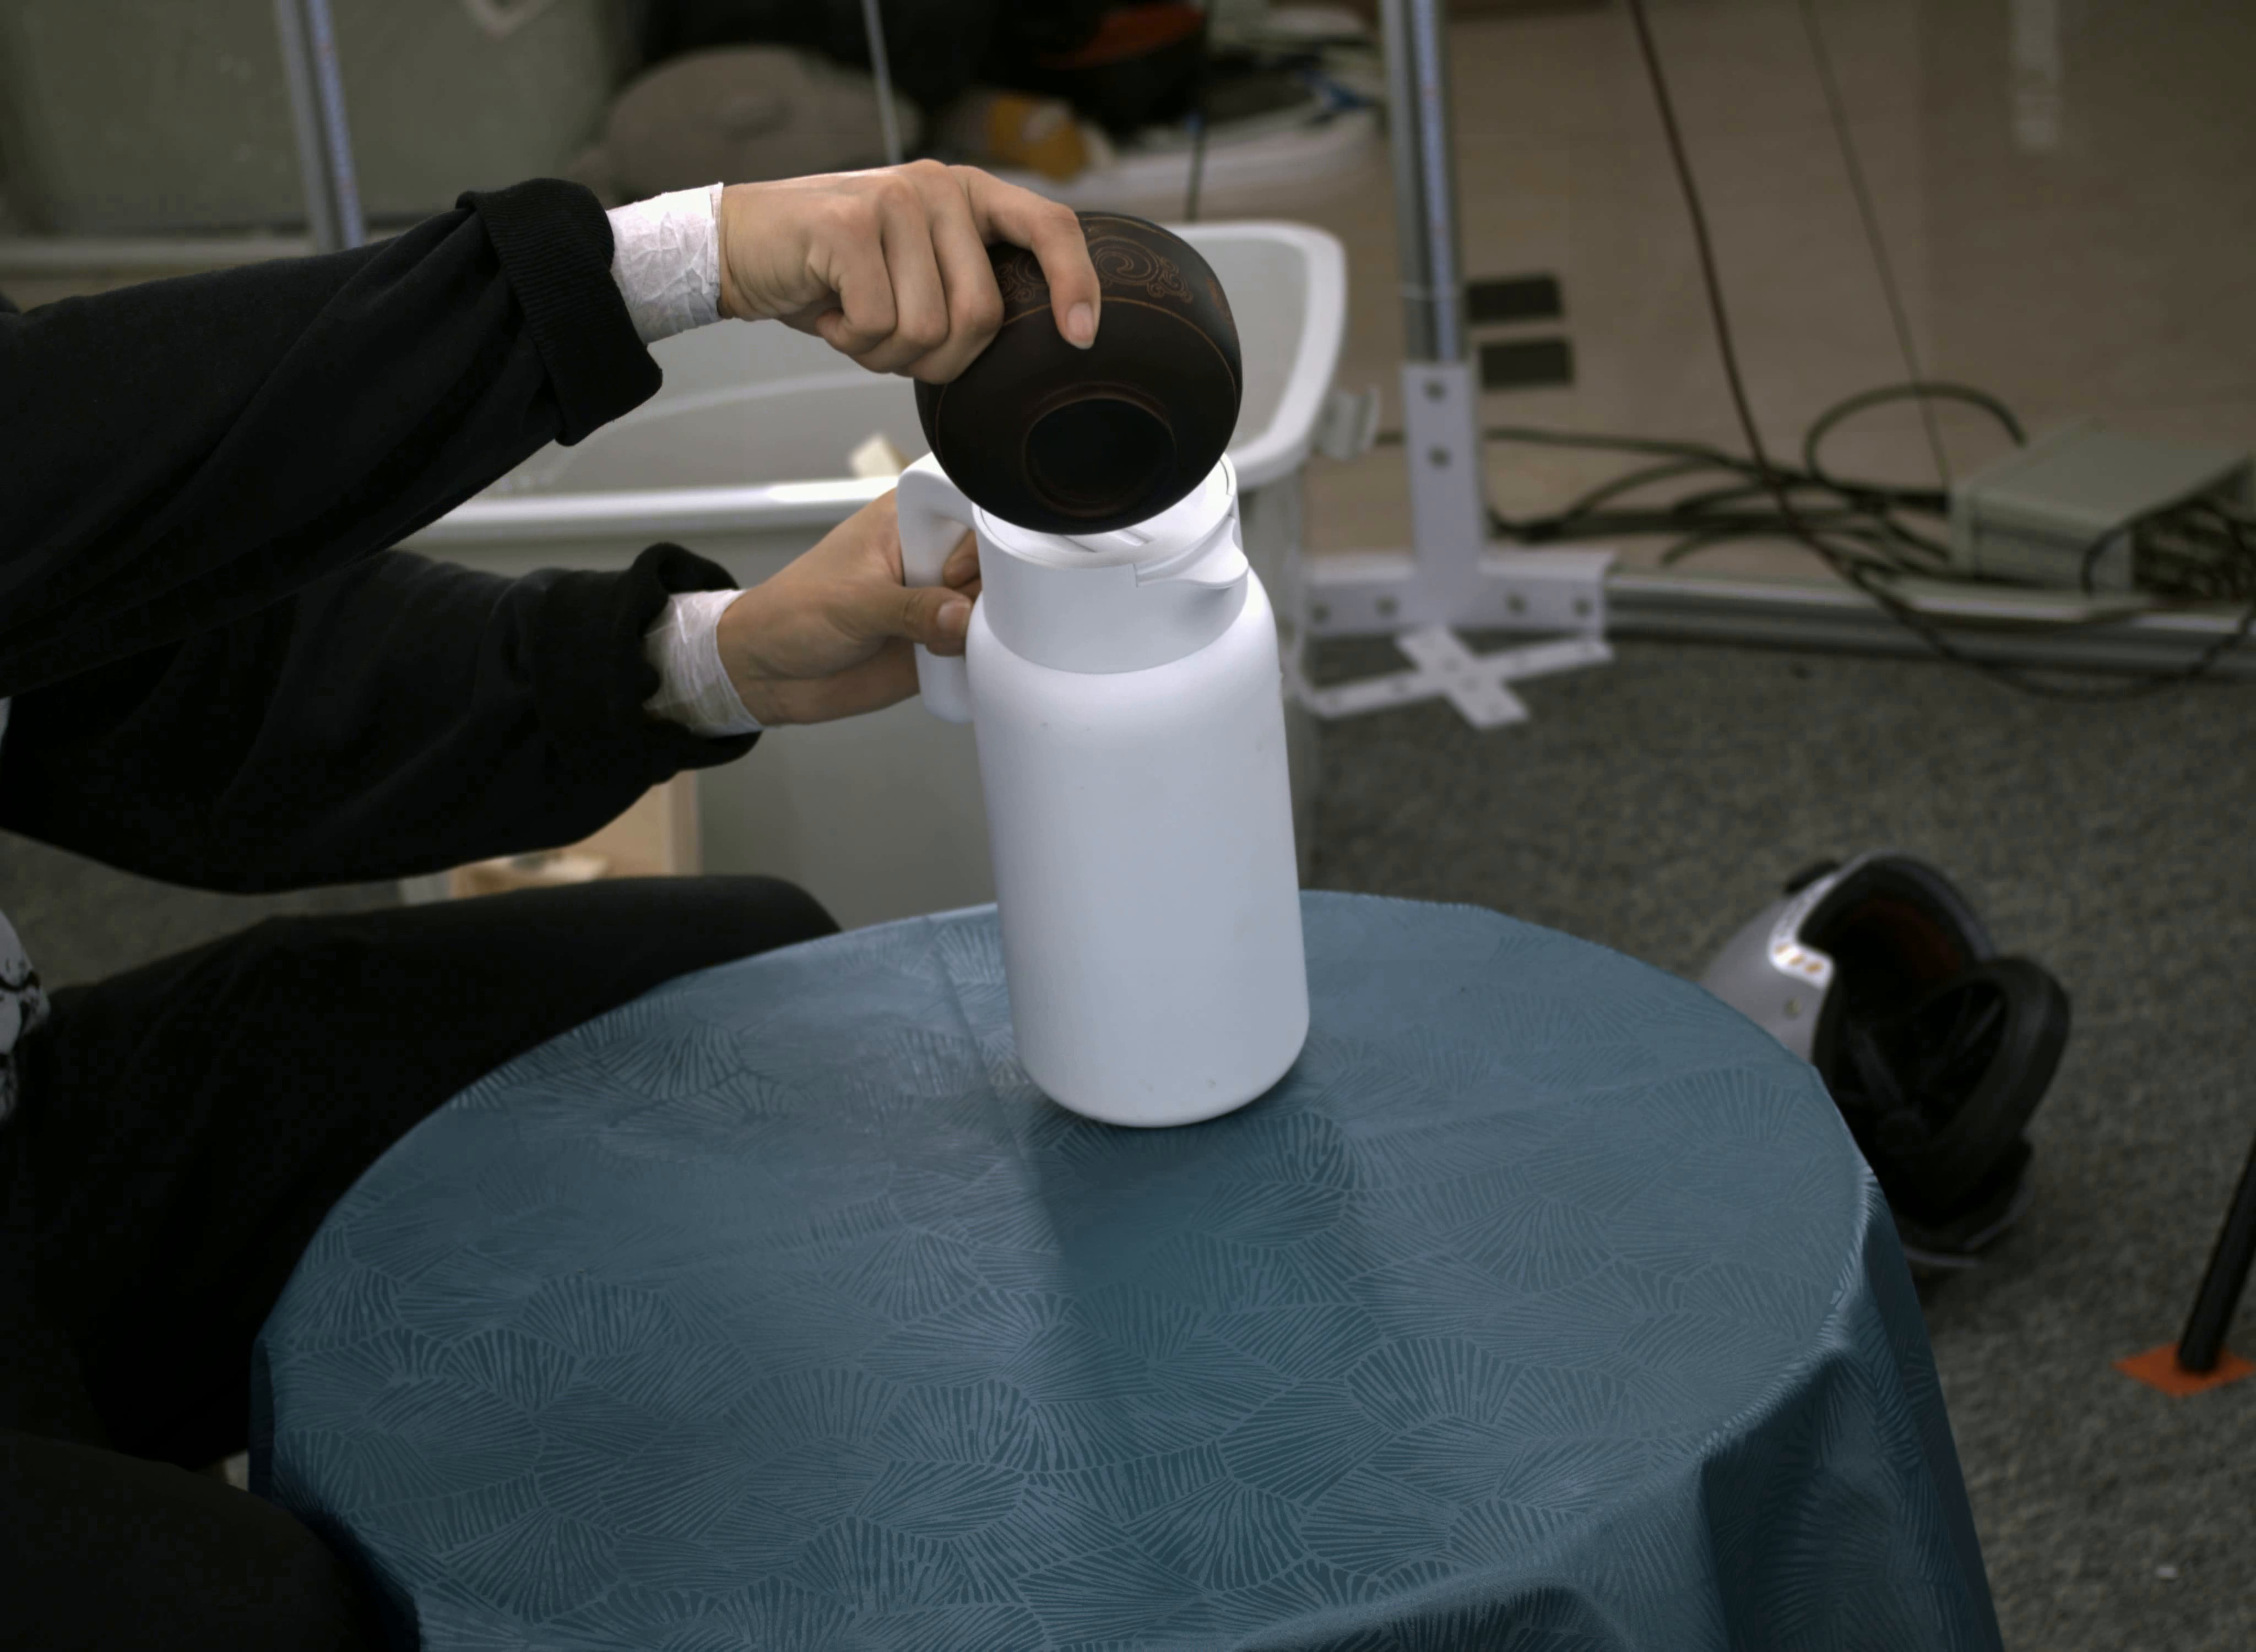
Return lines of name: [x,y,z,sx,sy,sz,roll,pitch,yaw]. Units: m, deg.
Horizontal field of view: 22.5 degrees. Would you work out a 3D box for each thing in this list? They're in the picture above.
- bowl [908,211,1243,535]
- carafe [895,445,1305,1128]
bowl: [-0.016,-0.149,1.976,0.118,0.120,0.068,-7,46,-3]
carafe: [-0.011,-0.025,2.160,0.171,0.274,0.122,27,51,34]
